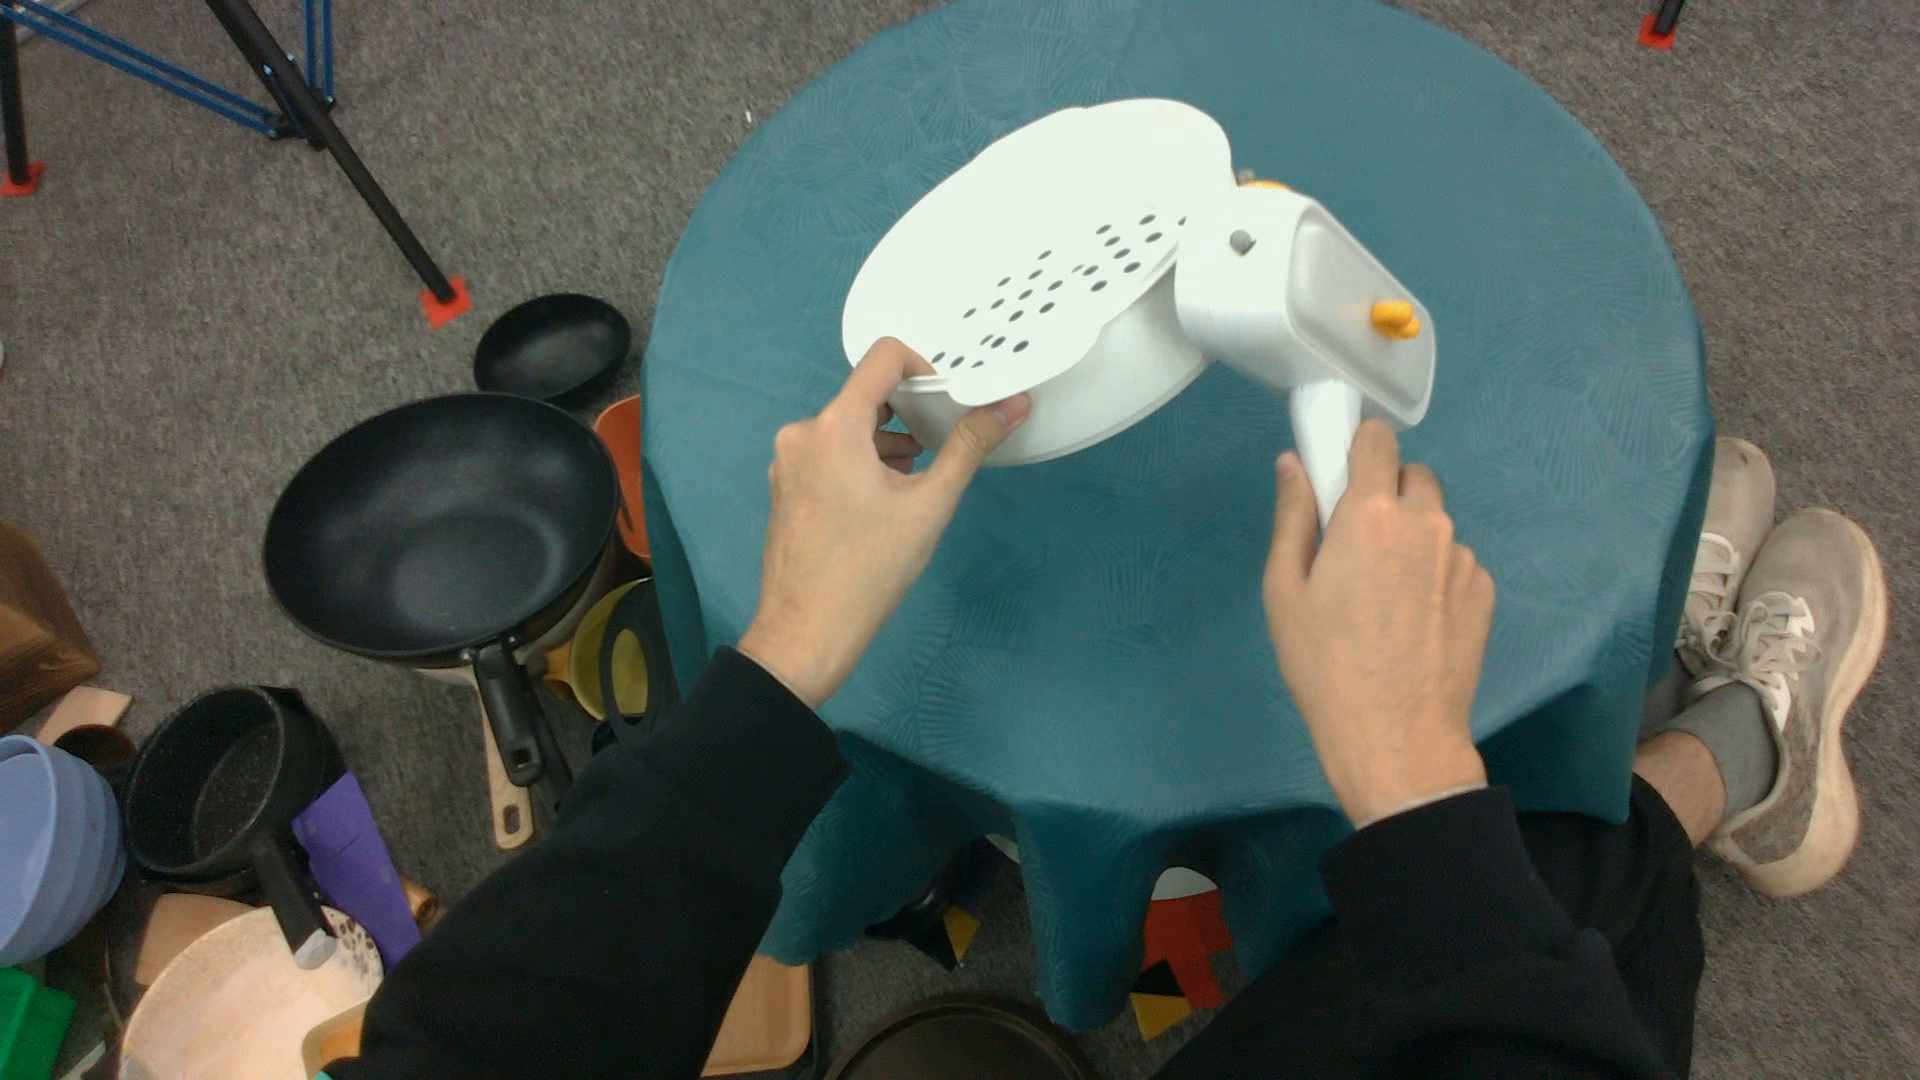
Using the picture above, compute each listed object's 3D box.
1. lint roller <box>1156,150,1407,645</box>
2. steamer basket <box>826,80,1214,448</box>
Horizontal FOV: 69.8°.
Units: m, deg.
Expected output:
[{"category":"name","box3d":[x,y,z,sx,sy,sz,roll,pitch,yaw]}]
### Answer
[{"category":"lint roller","box3d":[0.151,-0.051,0.587,0.074,0.193,0.192,-5,80,30]},{"category":"steamer basket","box3d":[0.035,-0.133,0.667,0.201,0.069,0.231,-20,42,20]}]
